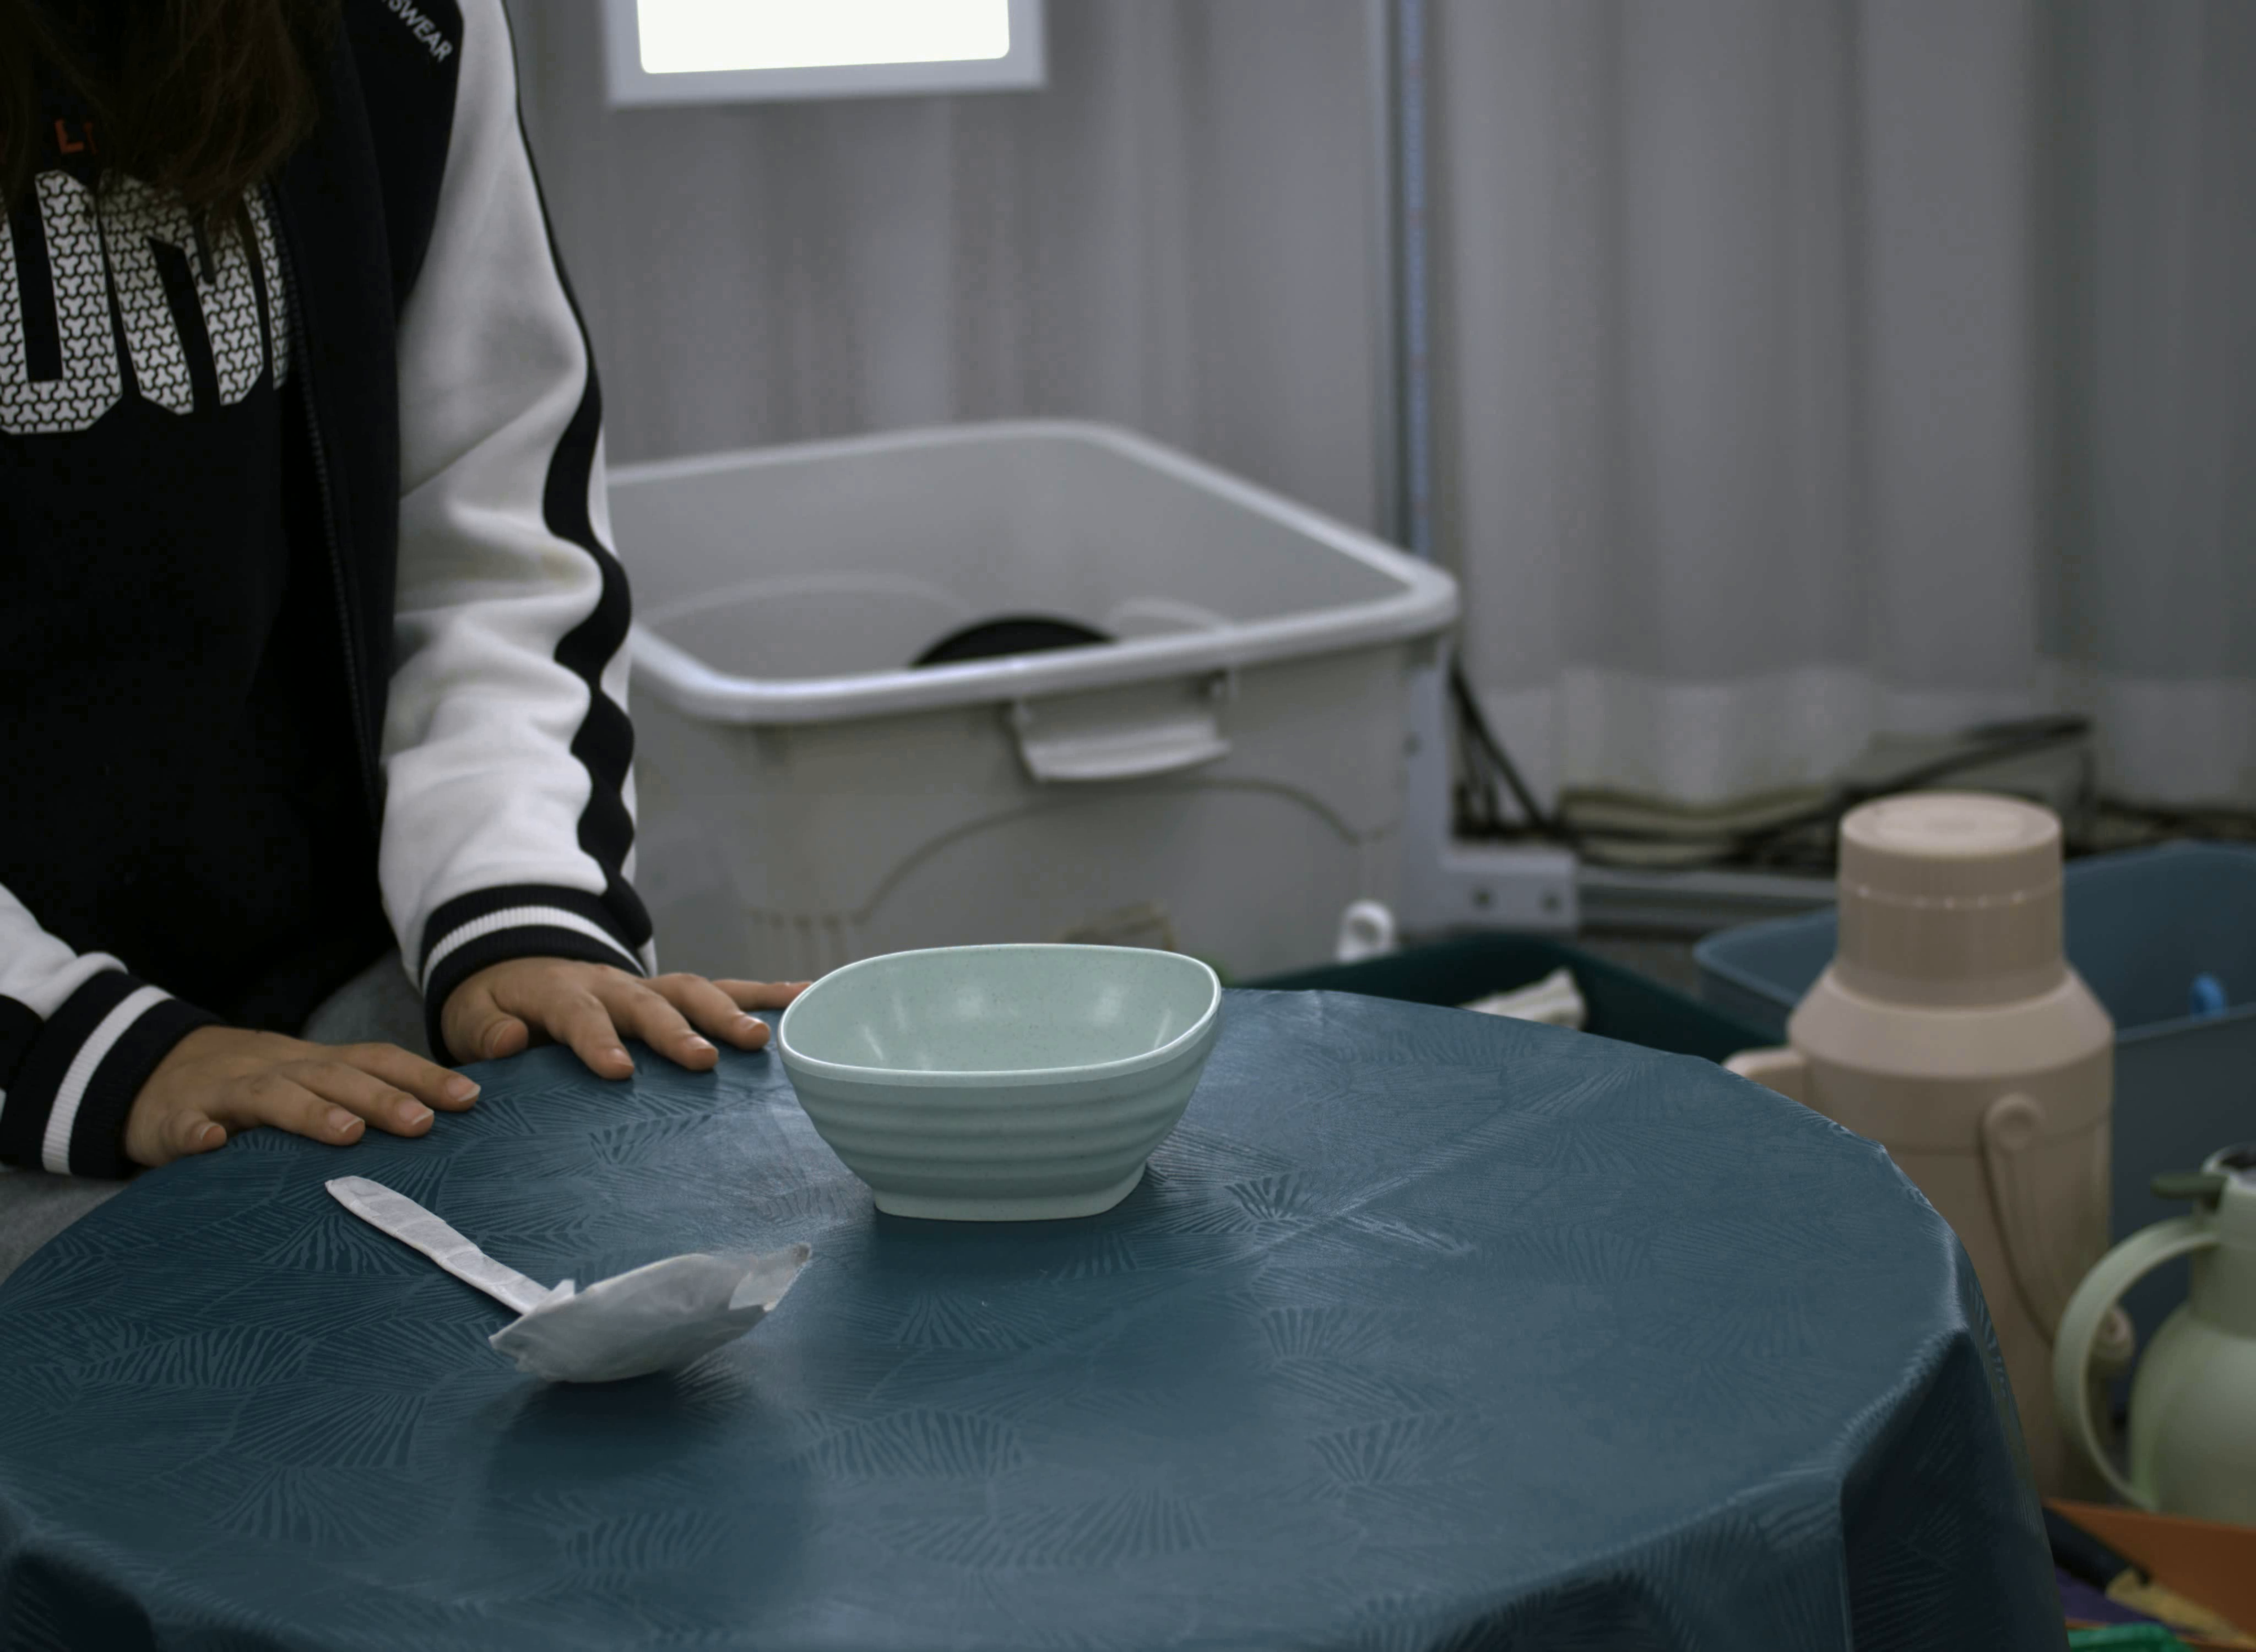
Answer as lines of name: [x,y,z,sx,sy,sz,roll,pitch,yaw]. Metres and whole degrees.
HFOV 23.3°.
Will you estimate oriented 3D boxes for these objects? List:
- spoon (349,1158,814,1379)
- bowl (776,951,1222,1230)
spoon: [-0.177,0.114,1.642,0.100,0.059,0.279,-5,14,-27]
bowl: [-0.039,0.087,1.726,0.151,0.058,0.152,-3,15,0]
